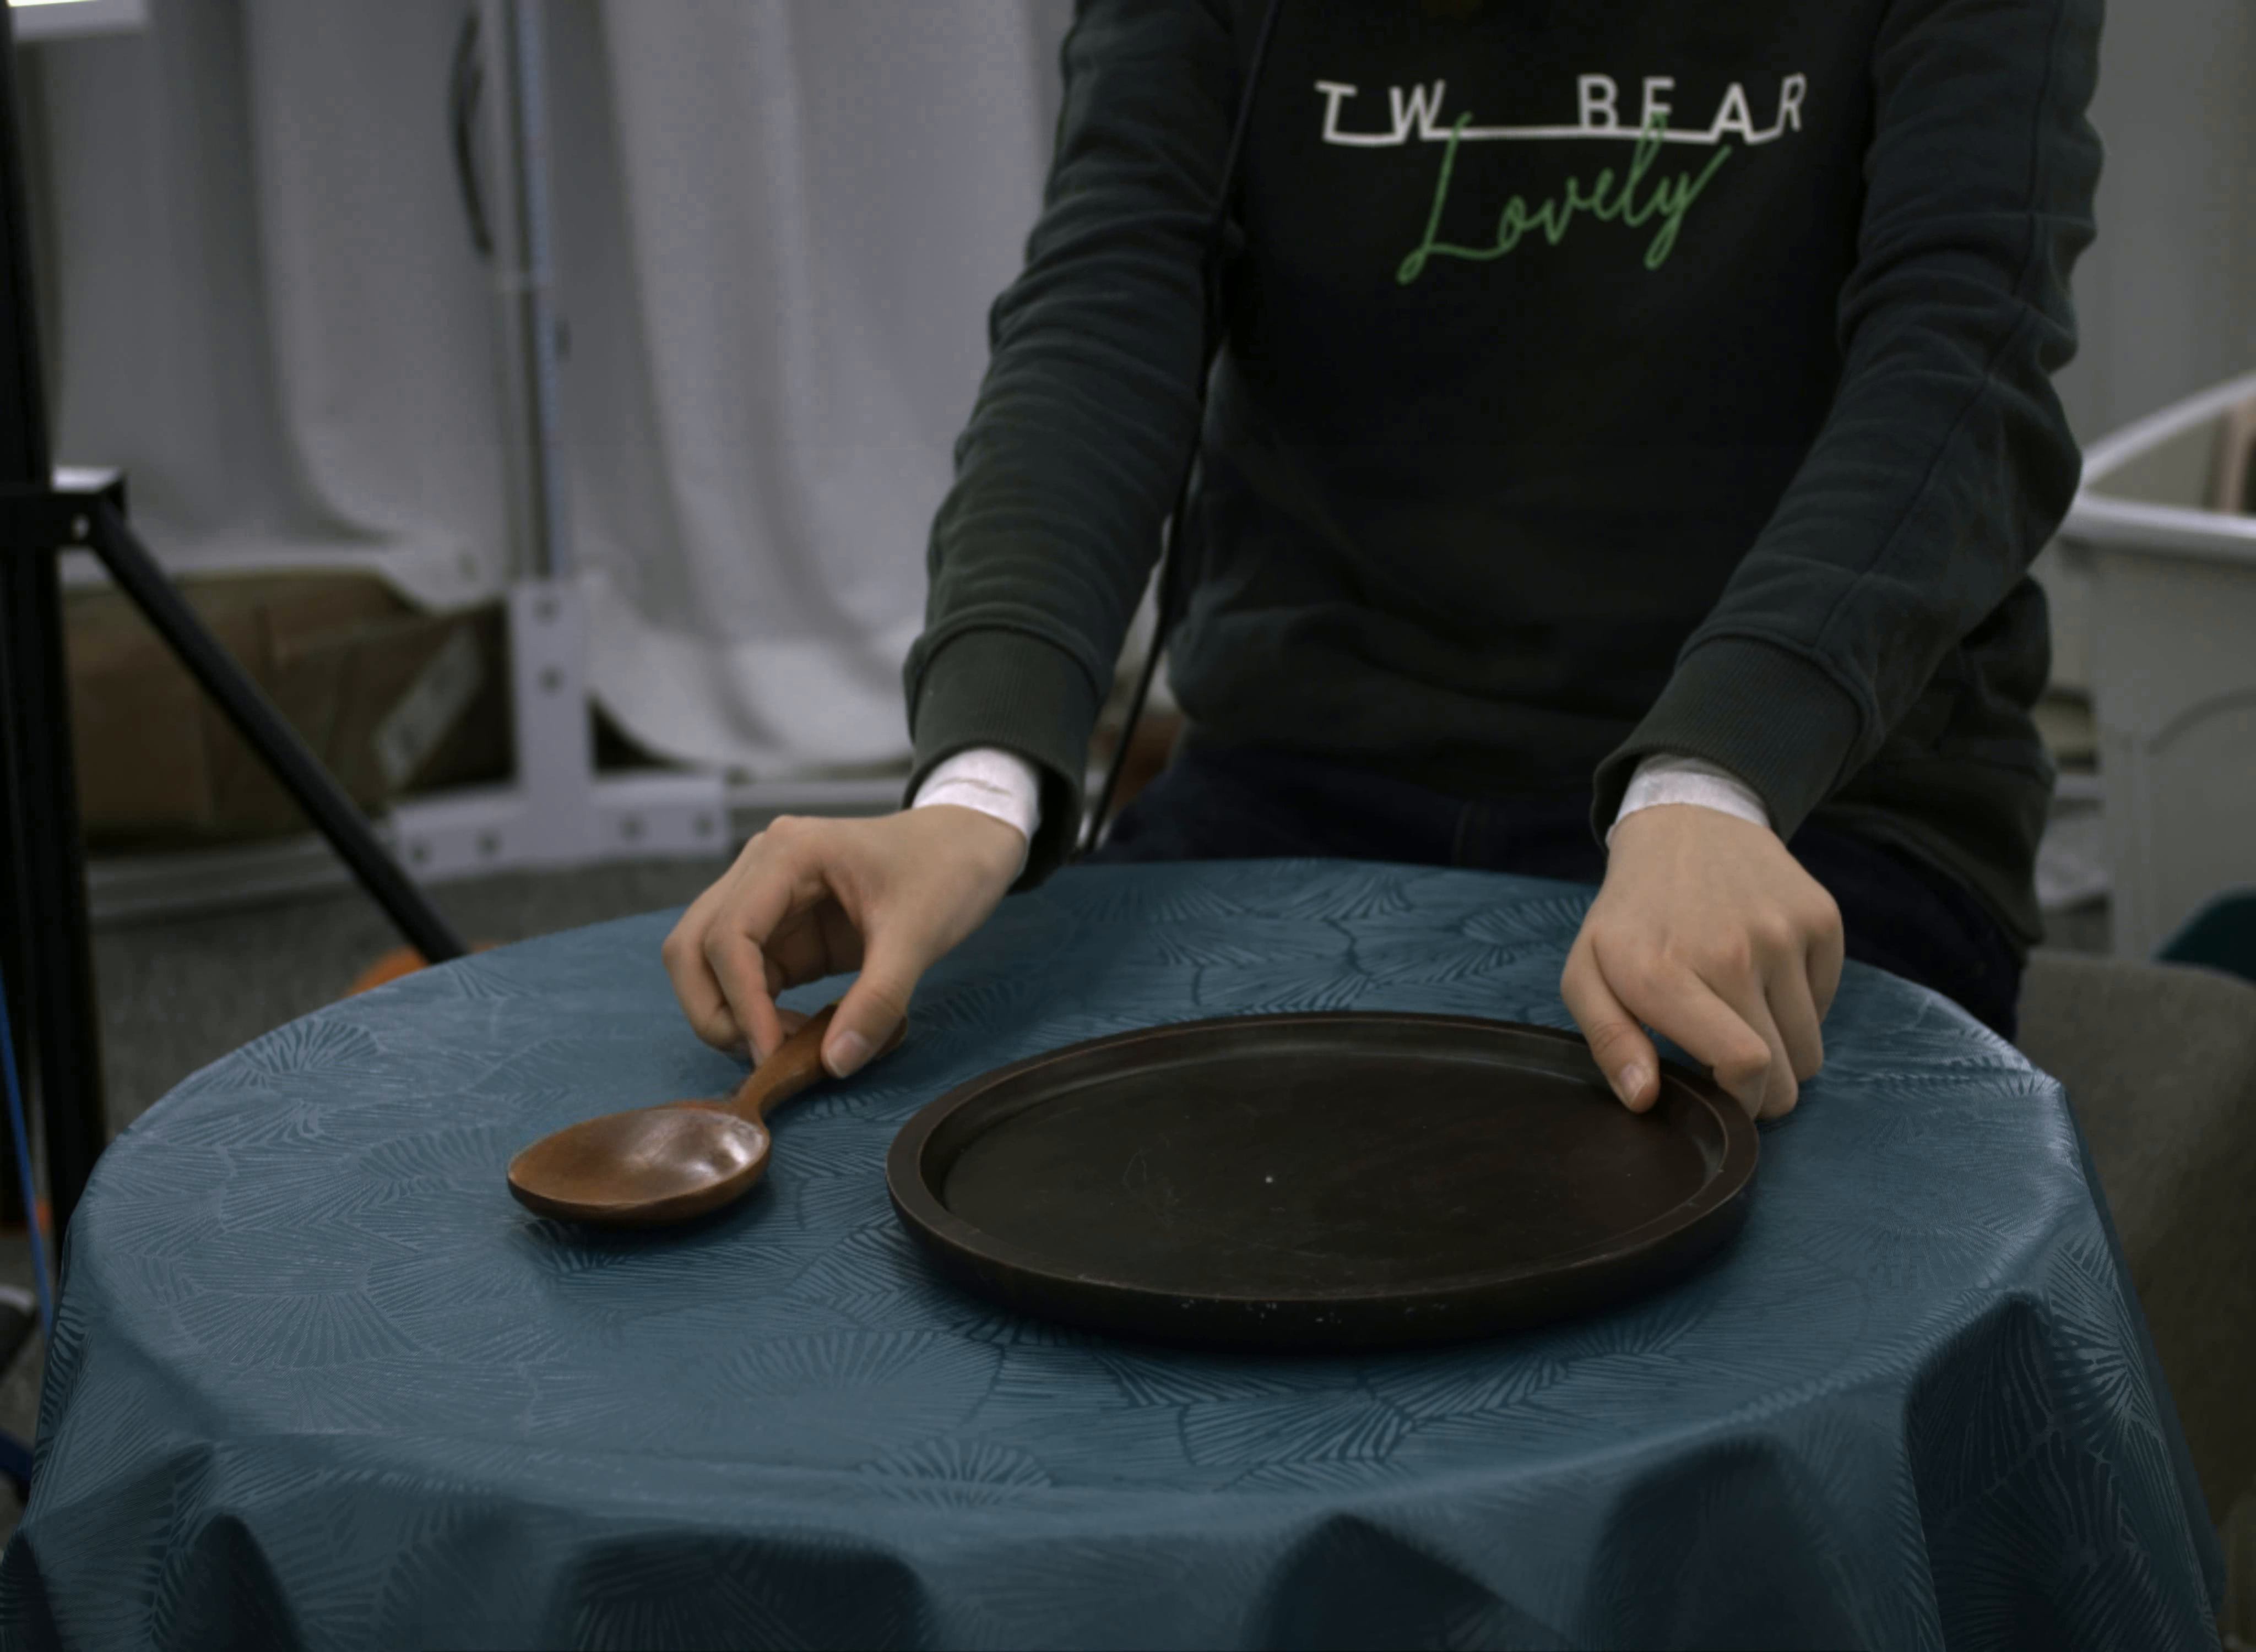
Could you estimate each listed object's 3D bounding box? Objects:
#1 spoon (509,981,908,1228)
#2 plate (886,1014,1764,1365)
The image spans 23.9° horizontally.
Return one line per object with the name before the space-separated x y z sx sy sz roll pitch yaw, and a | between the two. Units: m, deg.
spoon | -0.118 0.086 1.623 0.076 0.017 0.213 4 17 22
plate | 0.057 0.102 1.528 0.253 0.029 0.256 -2 17 -1
